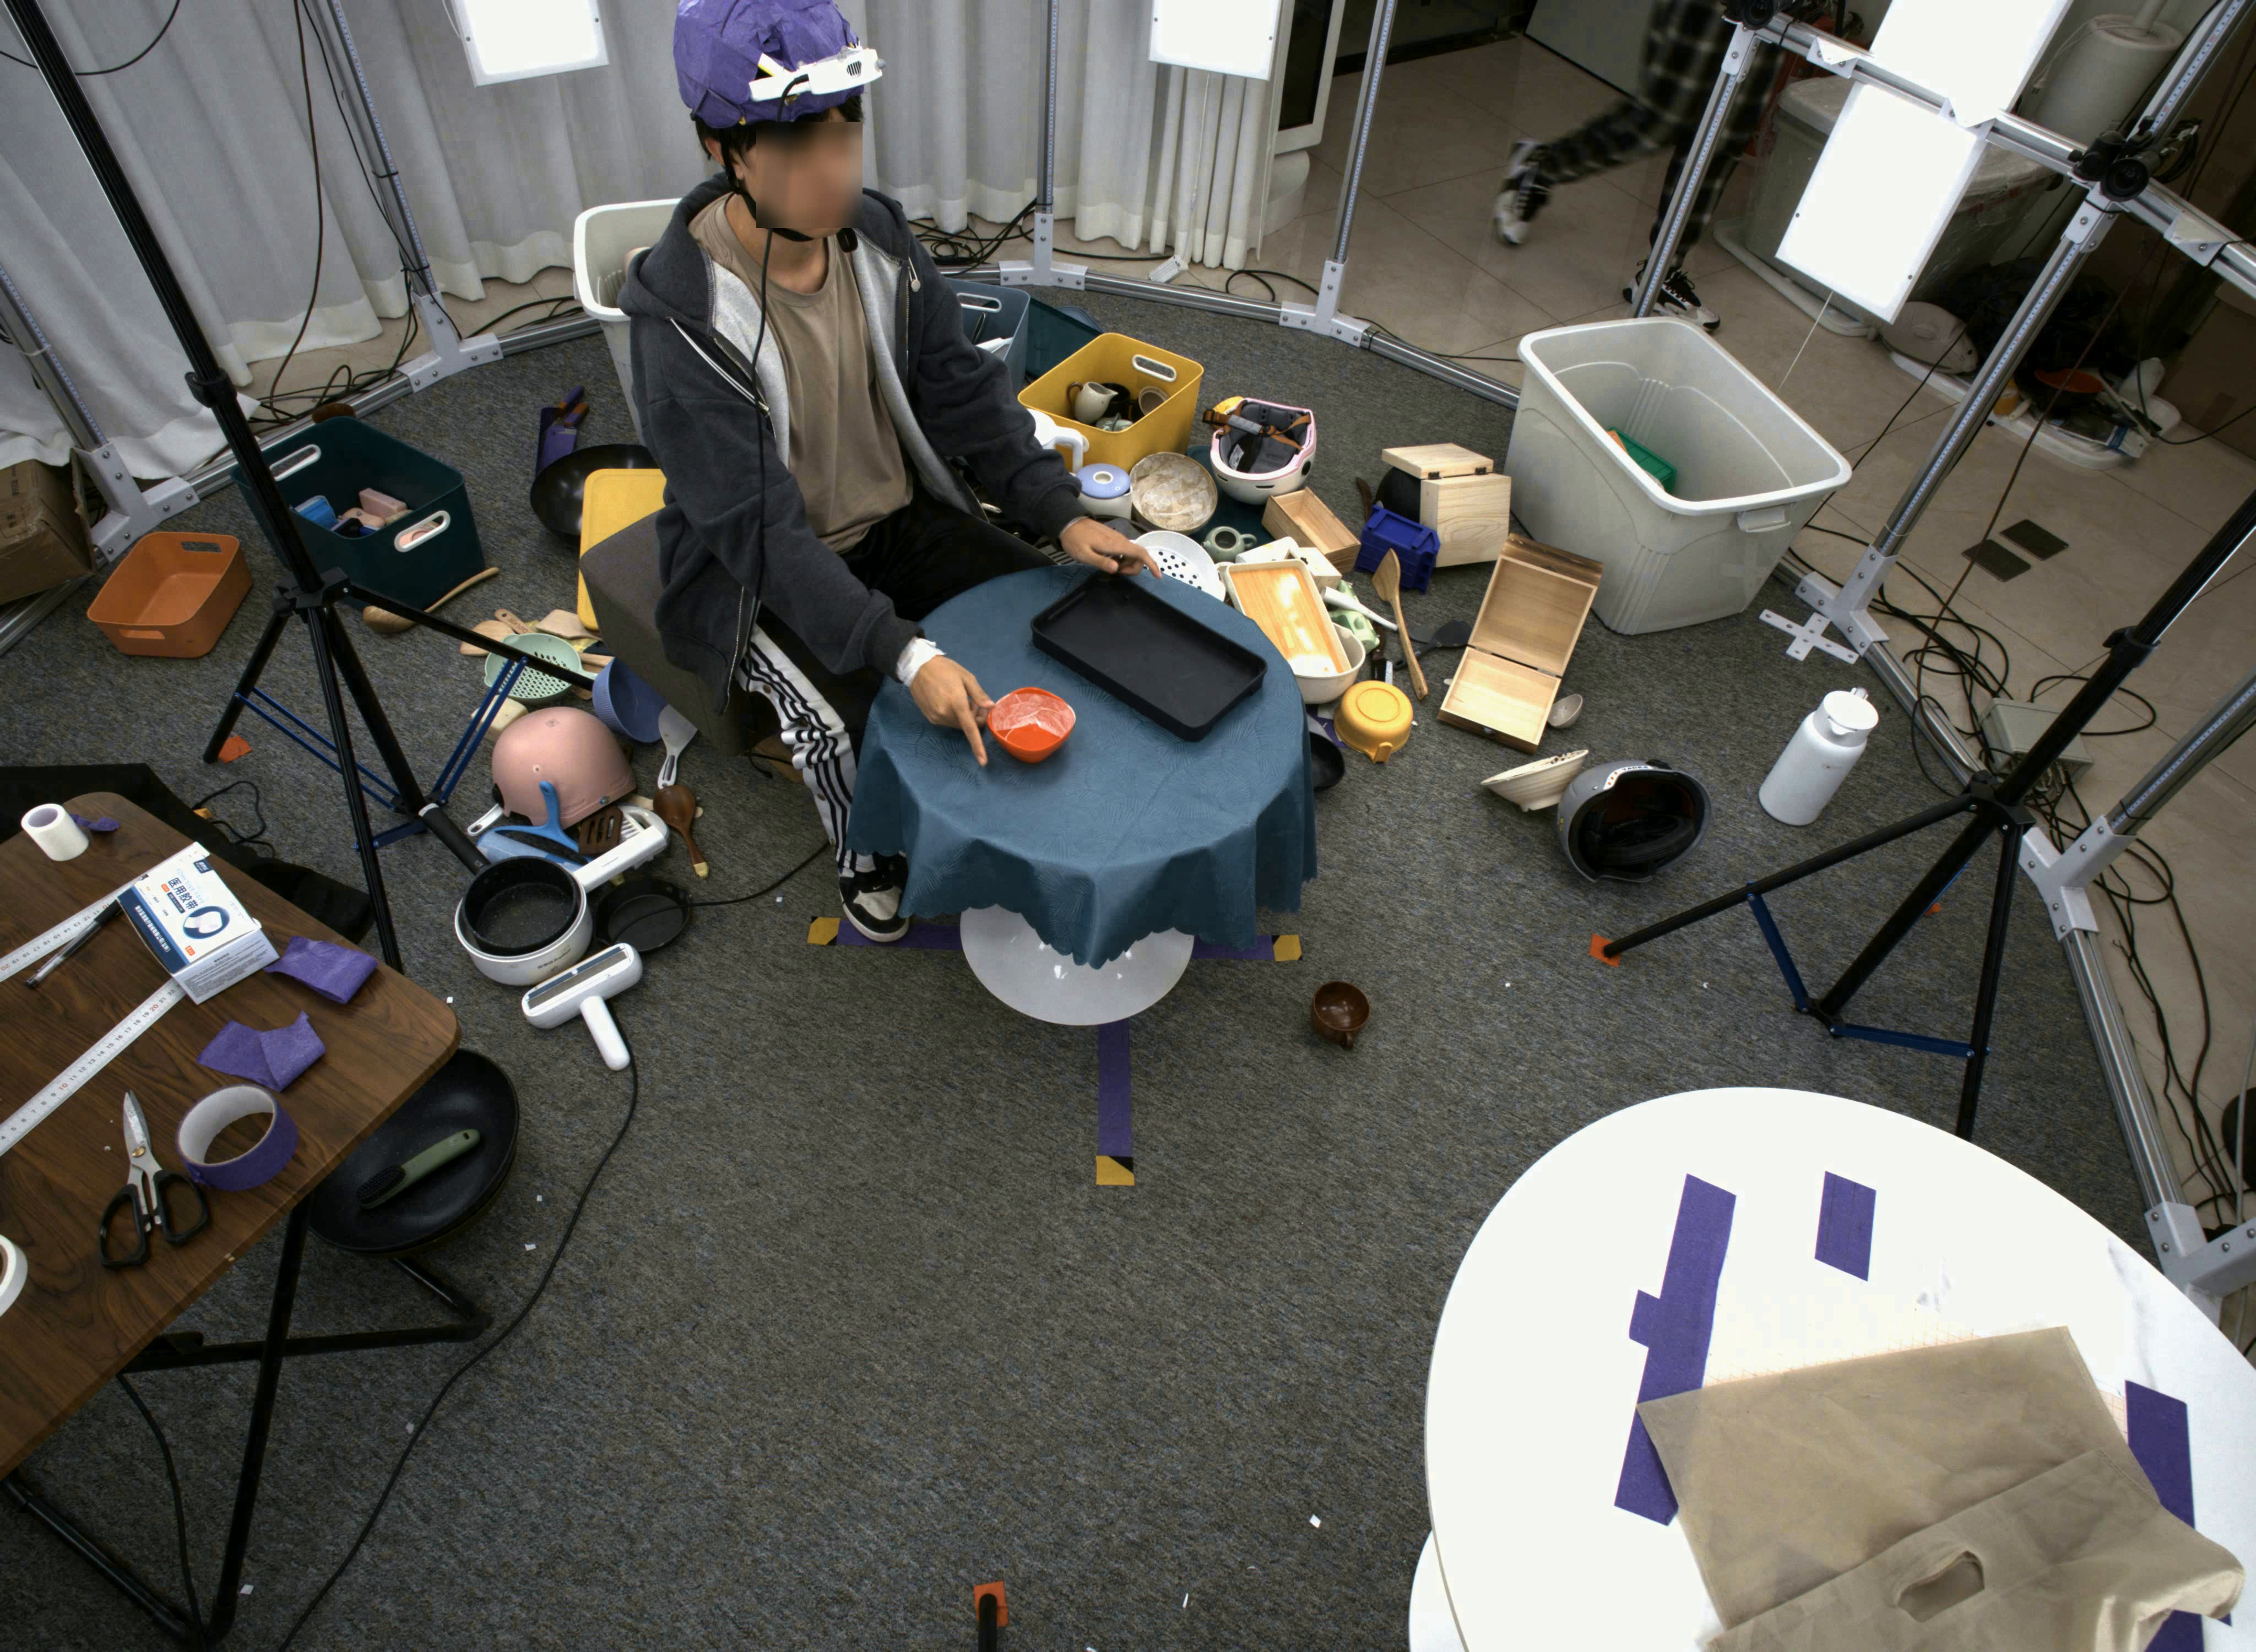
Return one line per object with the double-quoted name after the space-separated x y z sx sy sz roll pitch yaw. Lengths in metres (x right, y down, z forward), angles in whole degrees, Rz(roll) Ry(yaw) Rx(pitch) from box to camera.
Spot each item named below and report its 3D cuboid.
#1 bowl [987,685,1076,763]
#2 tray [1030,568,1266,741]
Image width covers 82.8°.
-0.131 -0.131 1.735 0.119 0.050 0.122 2 51 -3 "bowl"
0.027 -0.254 1.864 0.322 0.036 0.186 34 55 23 "tray"
